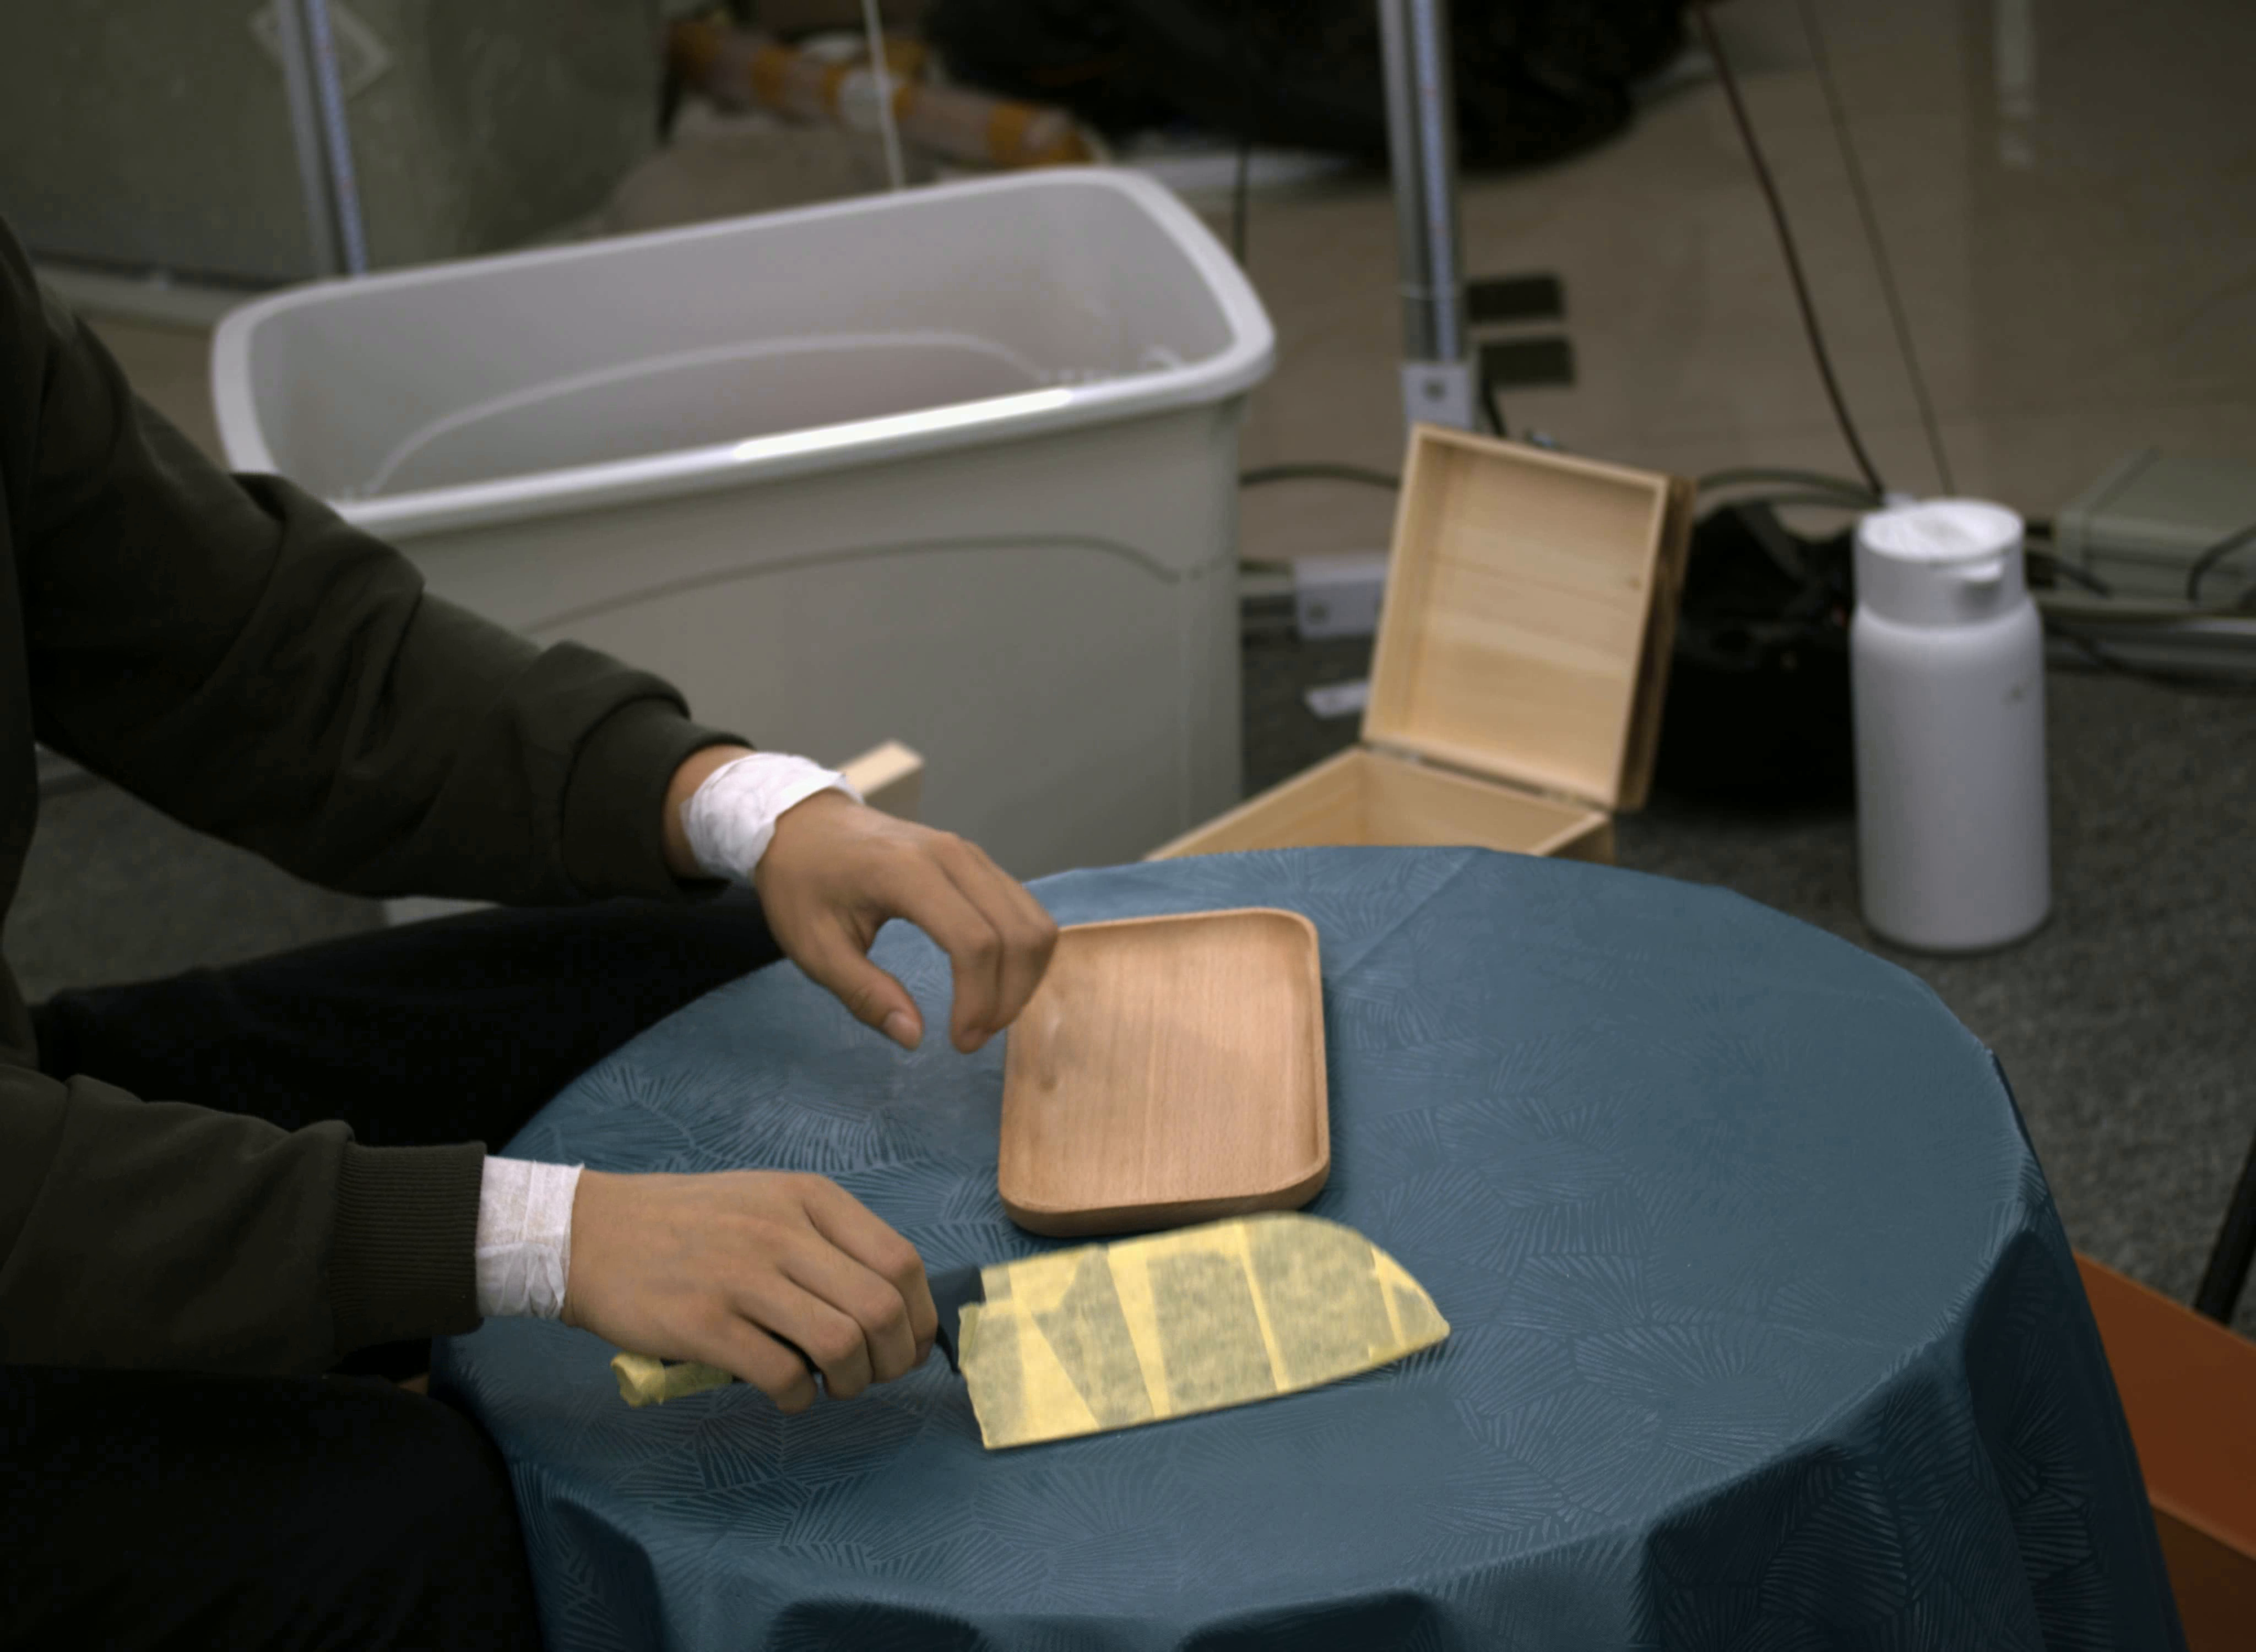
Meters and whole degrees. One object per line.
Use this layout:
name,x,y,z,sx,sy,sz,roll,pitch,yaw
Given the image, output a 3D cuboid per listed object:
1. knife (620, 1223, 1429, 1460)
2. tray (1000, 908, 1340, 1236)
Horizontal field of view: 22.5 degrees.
knife,-0.035,0.188,2.008,0.289,0.028,0.079,-9,52,-5
tray,0.016,0.095,2.223,0.130,0.023,0.247,-8,25,4
